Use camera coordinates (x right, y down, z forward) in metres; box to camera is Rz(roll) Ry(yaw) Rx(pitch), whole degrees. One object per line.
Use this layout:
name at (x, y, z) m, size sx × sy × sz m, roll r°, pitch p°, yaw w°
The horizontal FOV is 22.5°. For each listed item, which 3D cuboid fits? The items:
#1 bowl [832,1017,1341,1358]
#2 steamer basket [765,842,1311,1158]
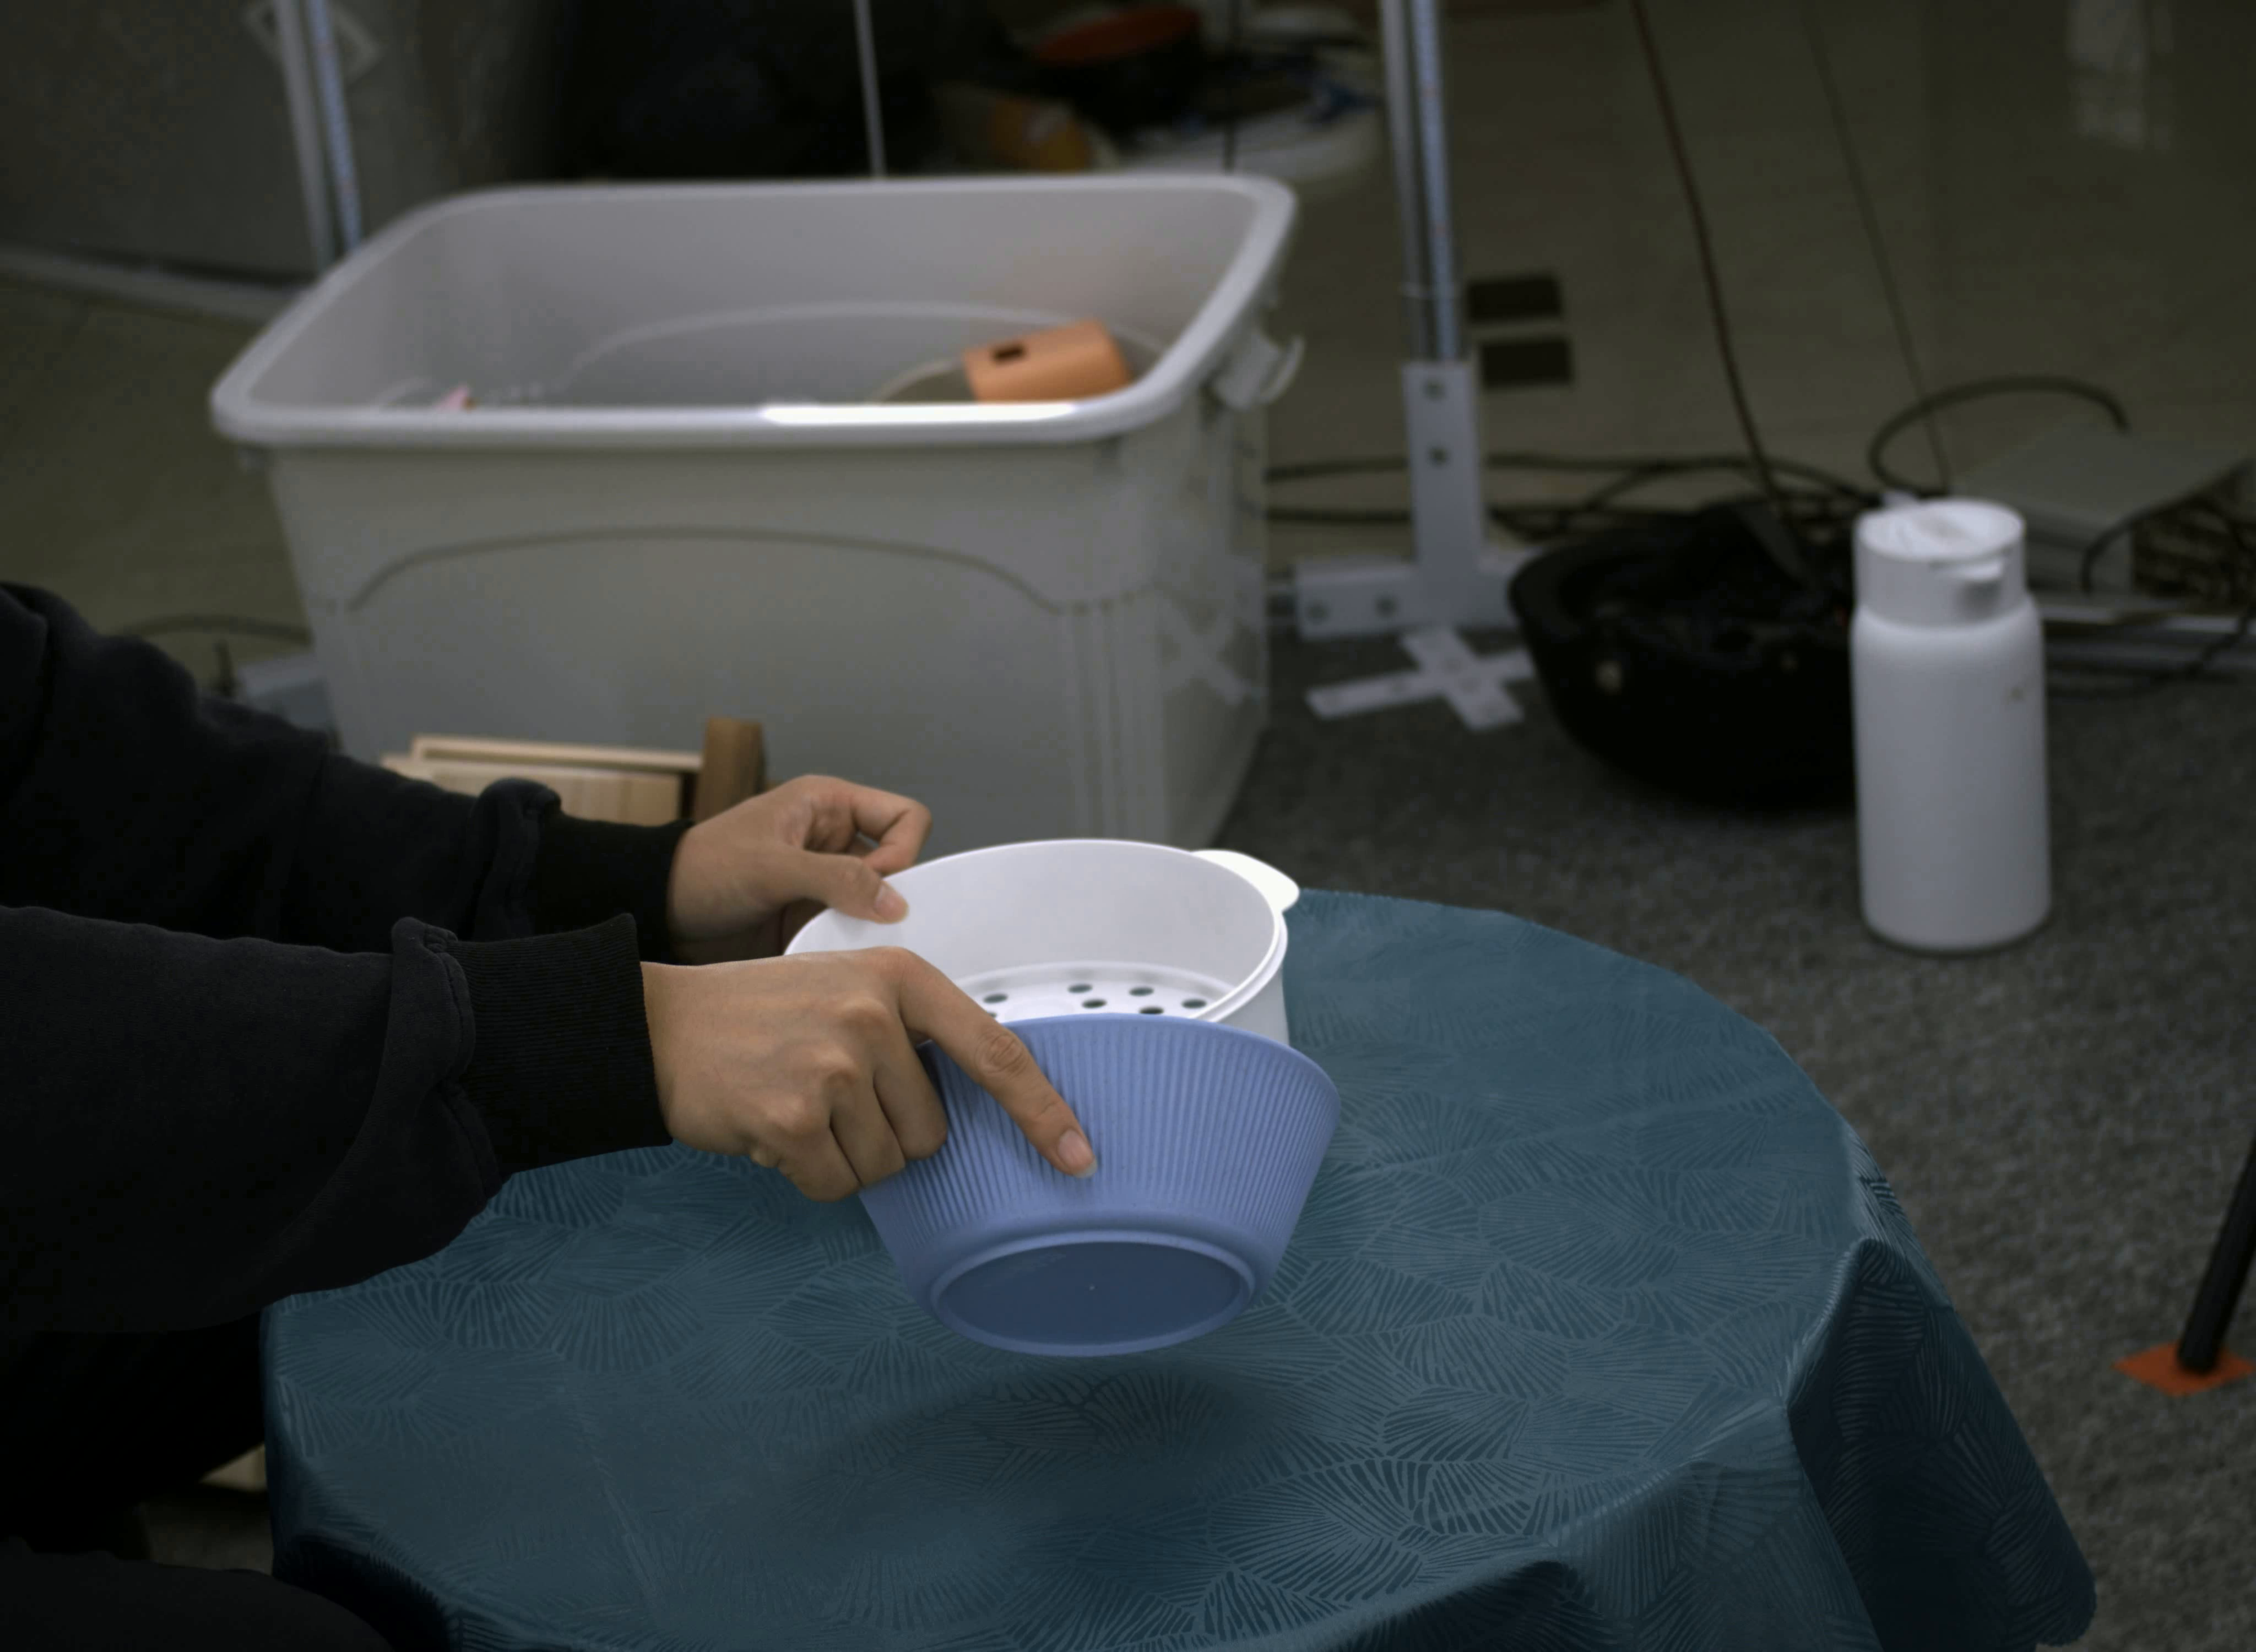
bowl at (-0.013, 0.130, 1.934) m, size 0.176 × 0.178 × 0.069 m, roll -5°, pitch 64°, yaw 3°
steamer basket at (-0.031, 0.075, 2.215) m, size 0.229 × 0.070 × 0.200 m, roll -18°, pitch 27°, yaw -29°
